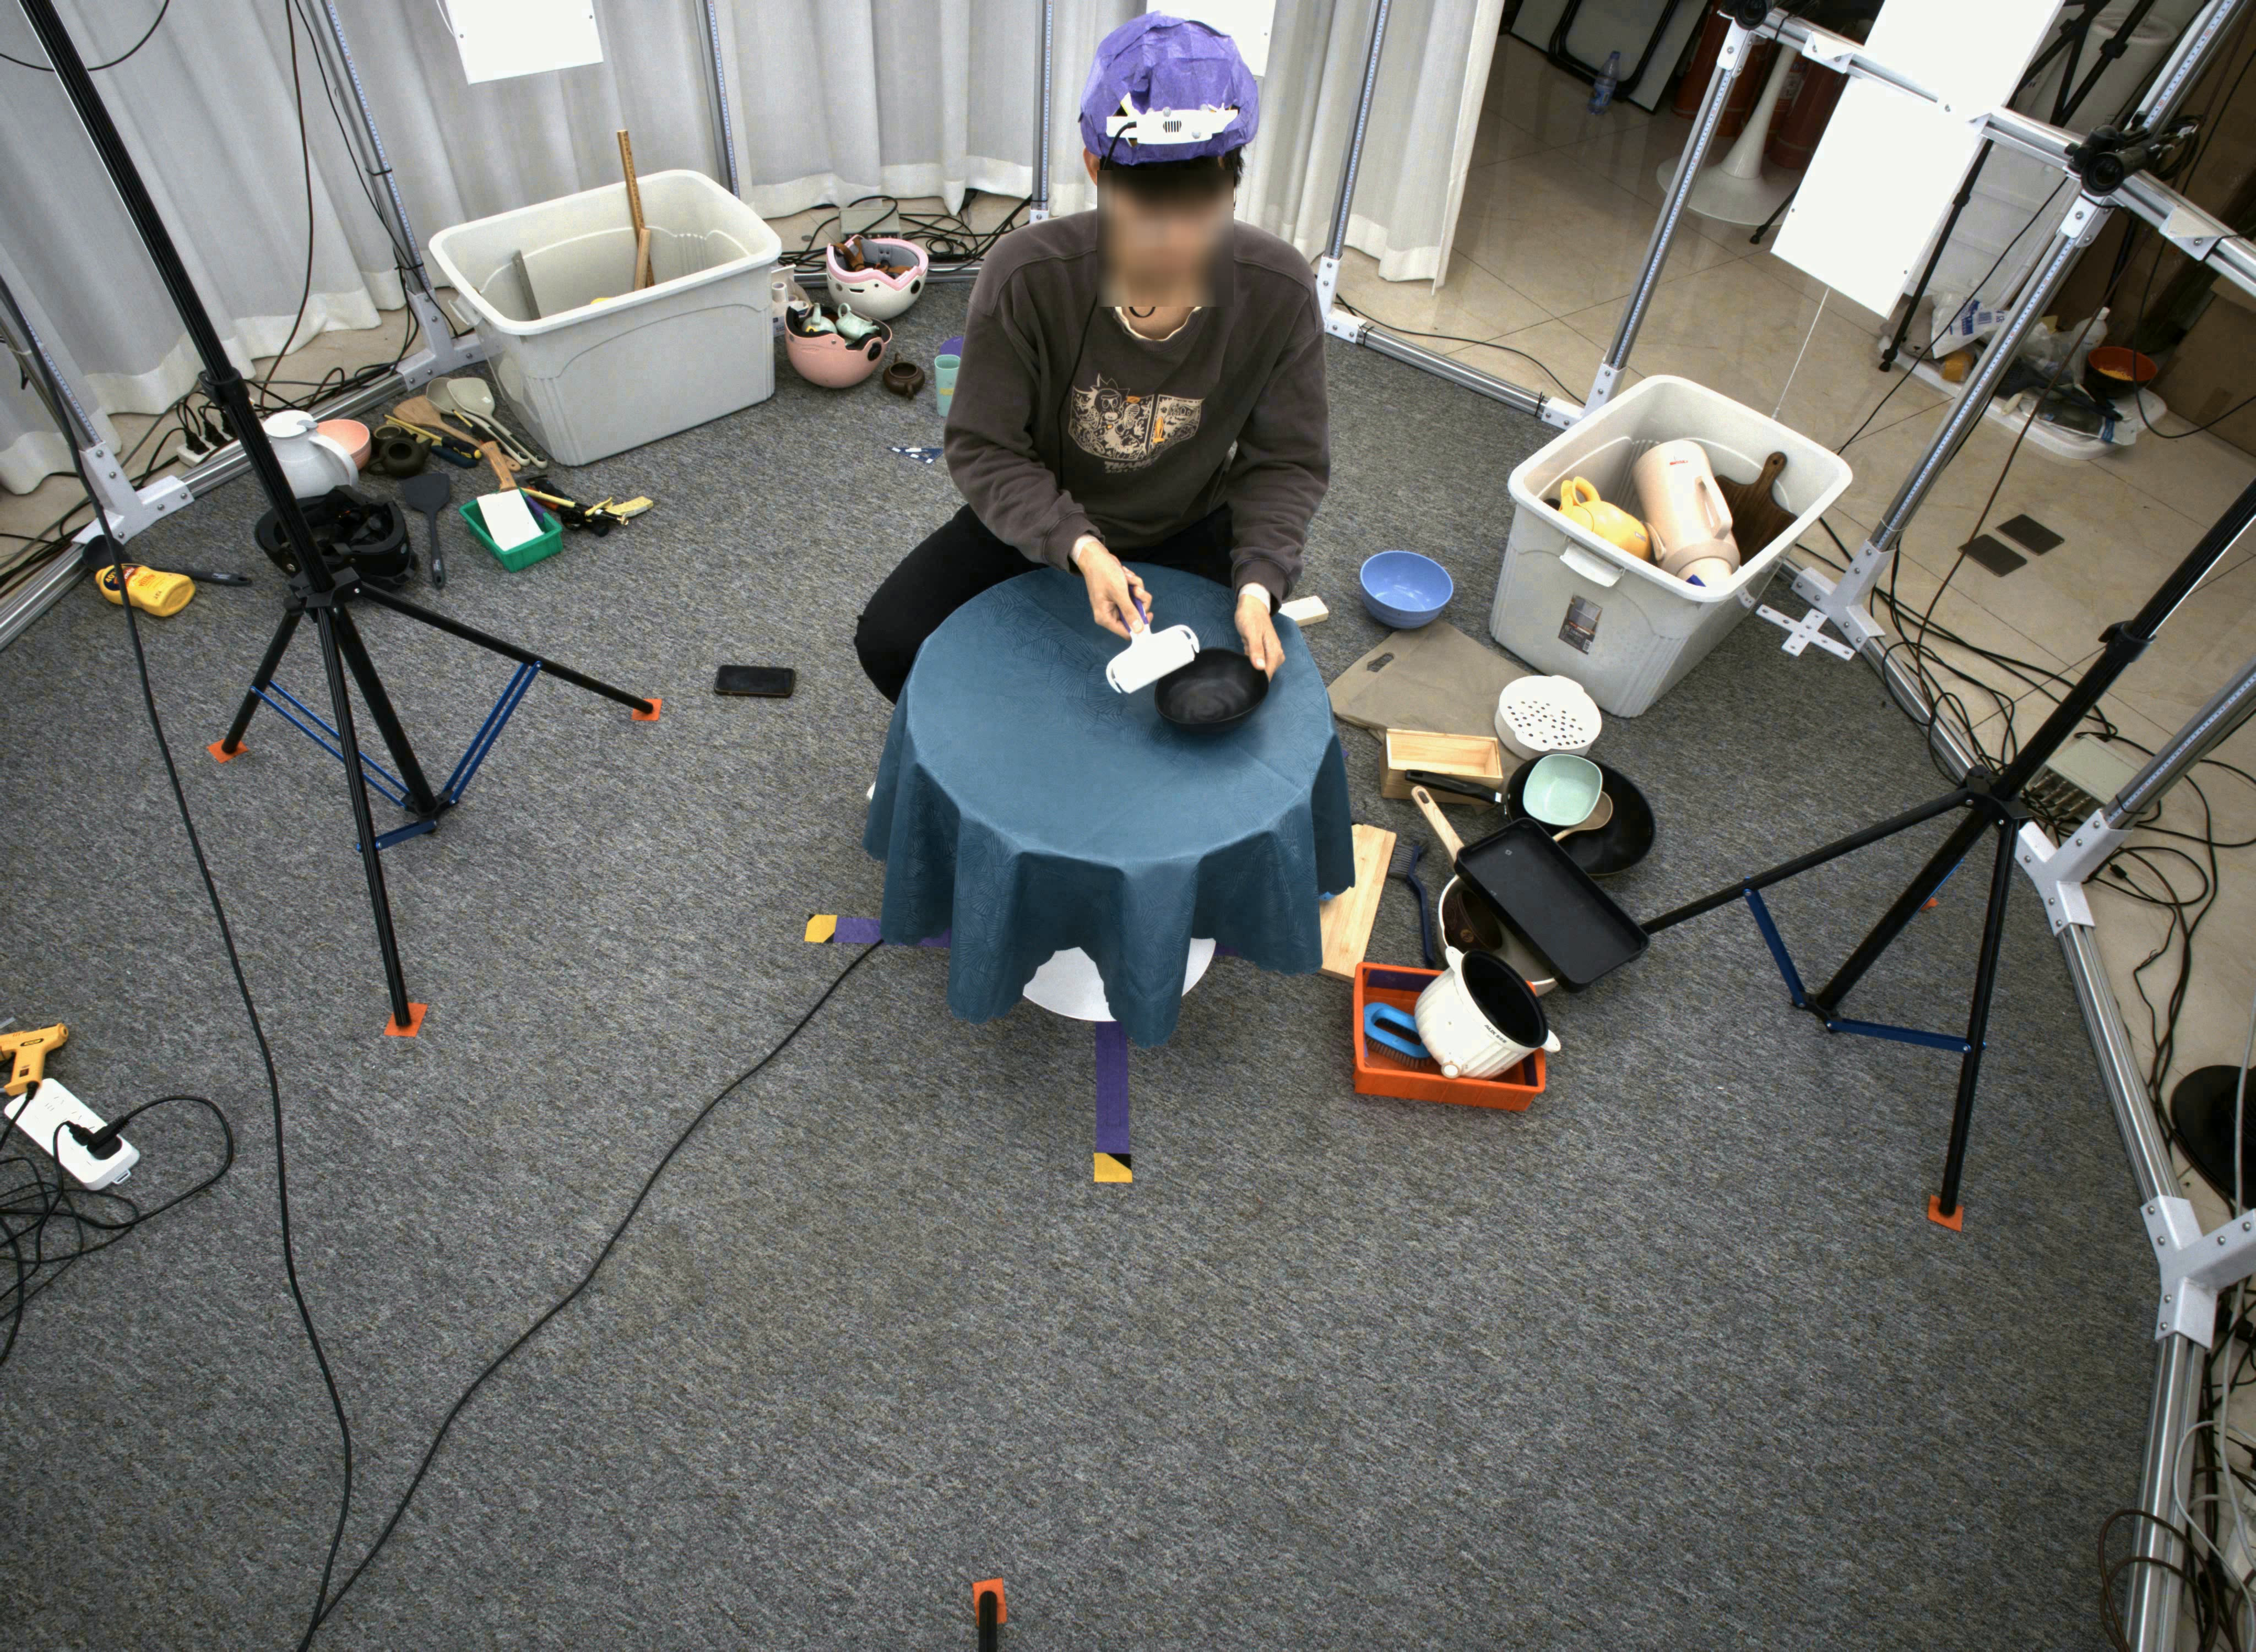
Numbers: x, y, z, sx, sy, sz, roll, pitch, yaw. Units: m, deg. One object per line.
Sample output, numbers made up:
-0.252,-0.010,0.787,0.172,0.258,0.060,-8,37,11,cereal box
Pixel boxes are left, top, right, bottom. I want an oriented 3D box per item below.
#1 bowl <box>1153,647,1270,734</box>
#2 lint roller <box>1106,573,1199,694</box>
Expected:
0.116,-0.175,1.785,0.171,0.065,0.140,-27,55,-22,bowl
0.012,-0.281,1.766,0.132,0.049,0.184,-25,70,10,lint roller
